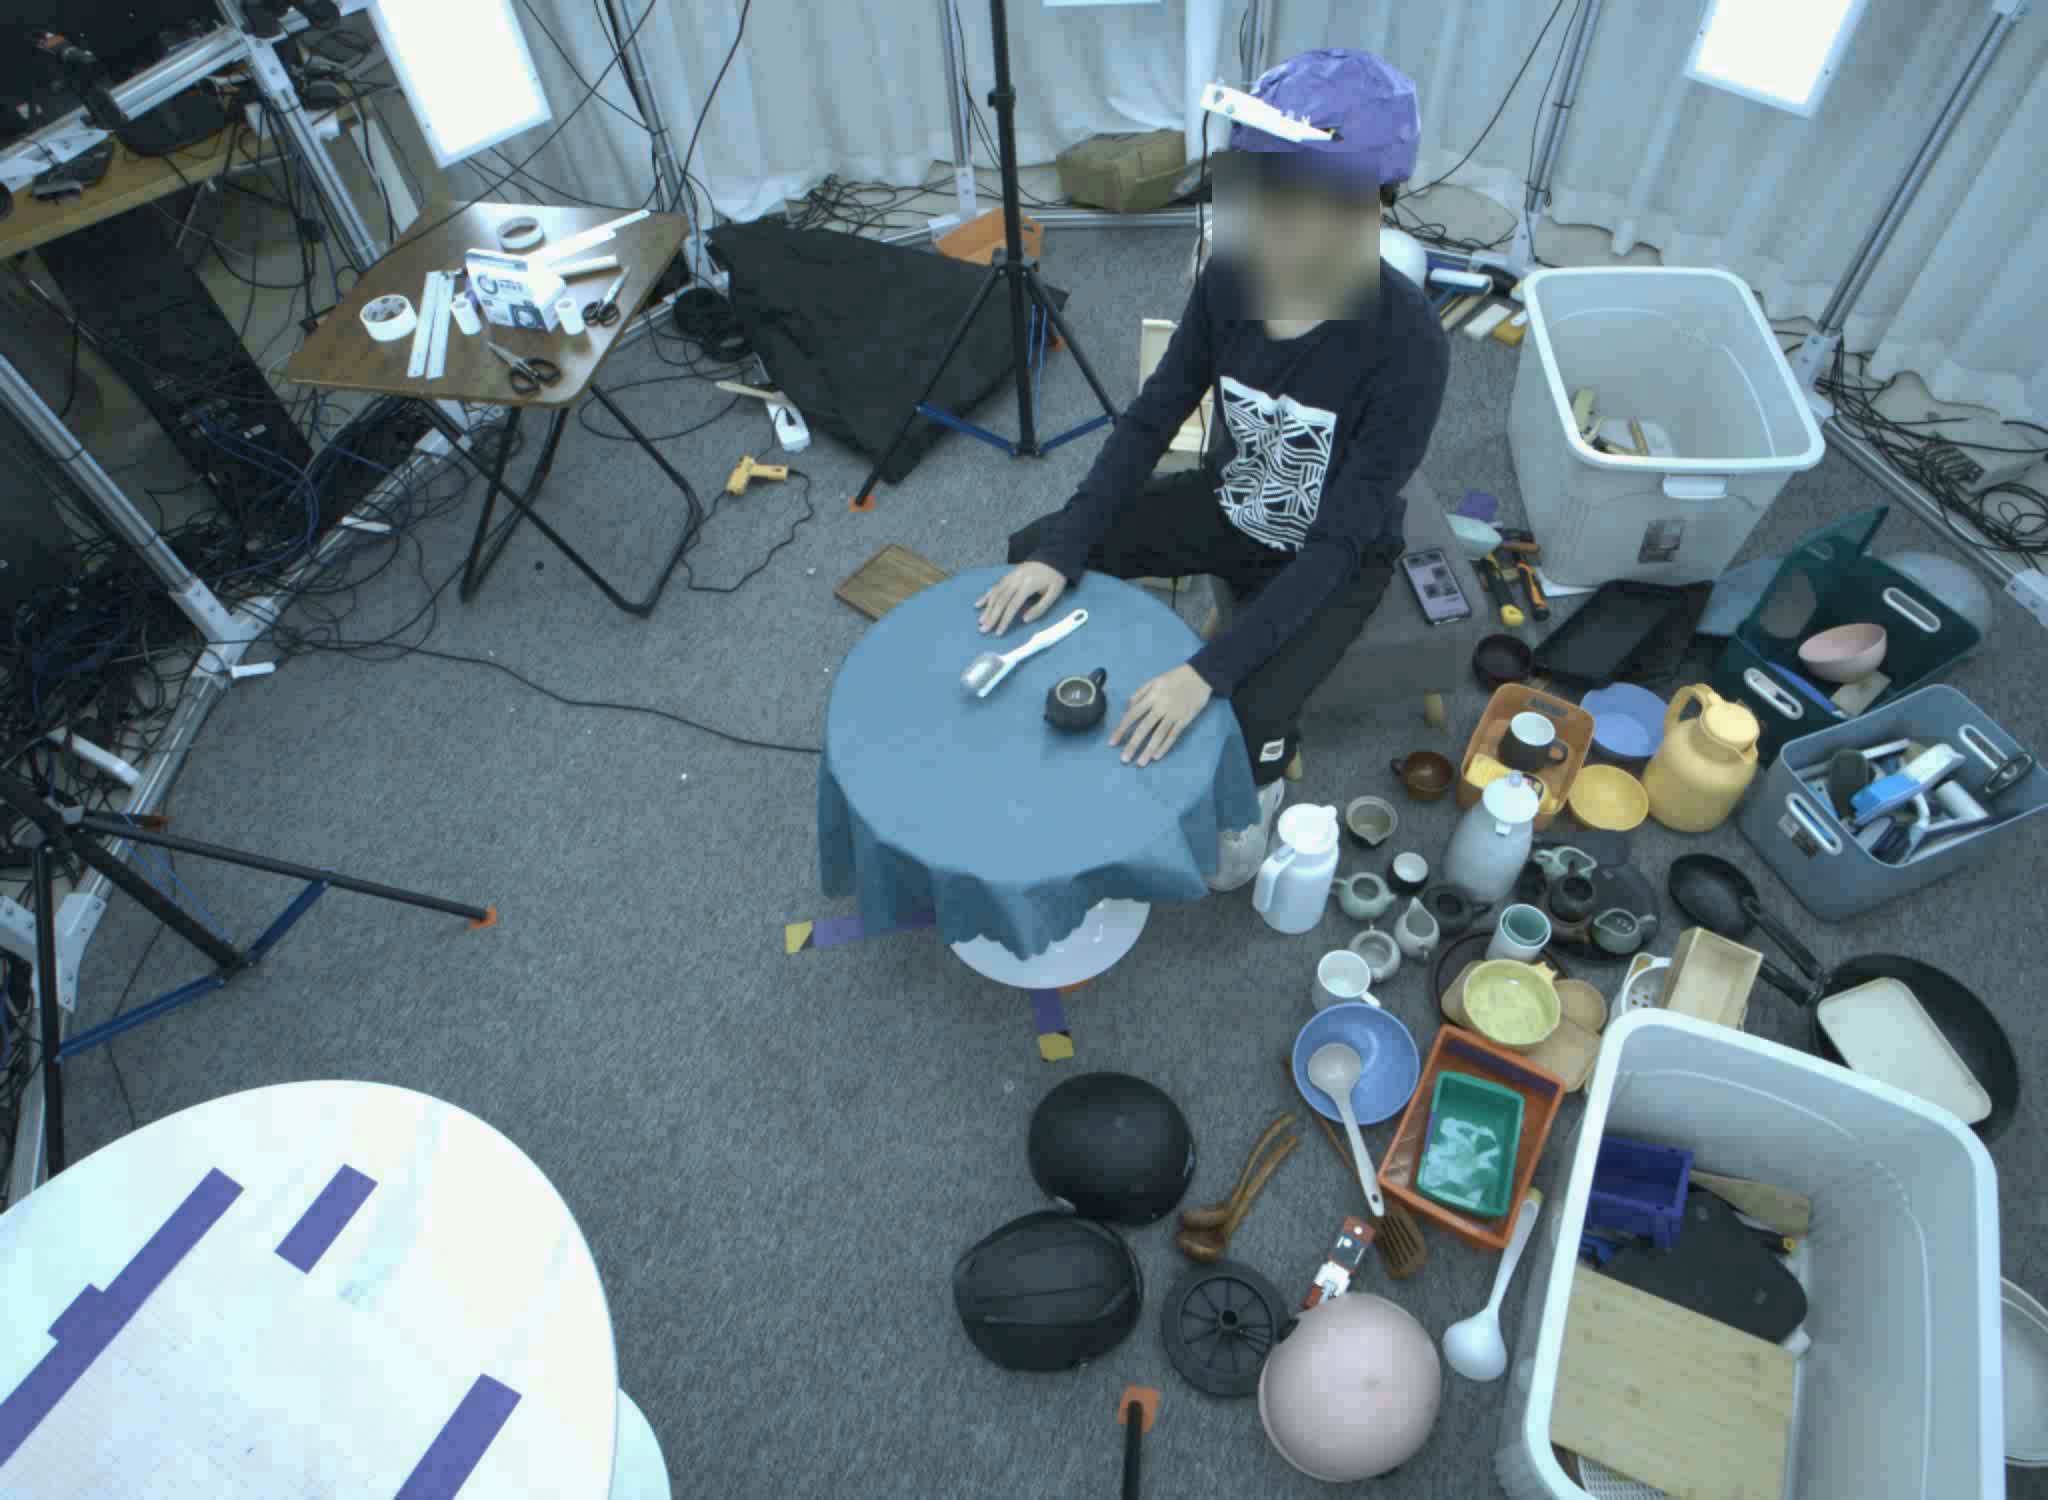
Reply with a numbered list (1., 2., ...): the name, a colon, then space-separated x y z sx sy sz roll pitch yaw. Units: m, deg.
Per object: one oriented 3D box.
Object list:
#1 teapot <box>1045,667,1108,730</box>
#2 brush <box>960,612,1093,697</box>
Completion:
1. teapot: 0.077 -0.071 1.795 0.089 0.053 0.134 37 63 21
2. brush: 0.007 -0.159 1.863 0.245 0.051 0.033 -34 55 -20
